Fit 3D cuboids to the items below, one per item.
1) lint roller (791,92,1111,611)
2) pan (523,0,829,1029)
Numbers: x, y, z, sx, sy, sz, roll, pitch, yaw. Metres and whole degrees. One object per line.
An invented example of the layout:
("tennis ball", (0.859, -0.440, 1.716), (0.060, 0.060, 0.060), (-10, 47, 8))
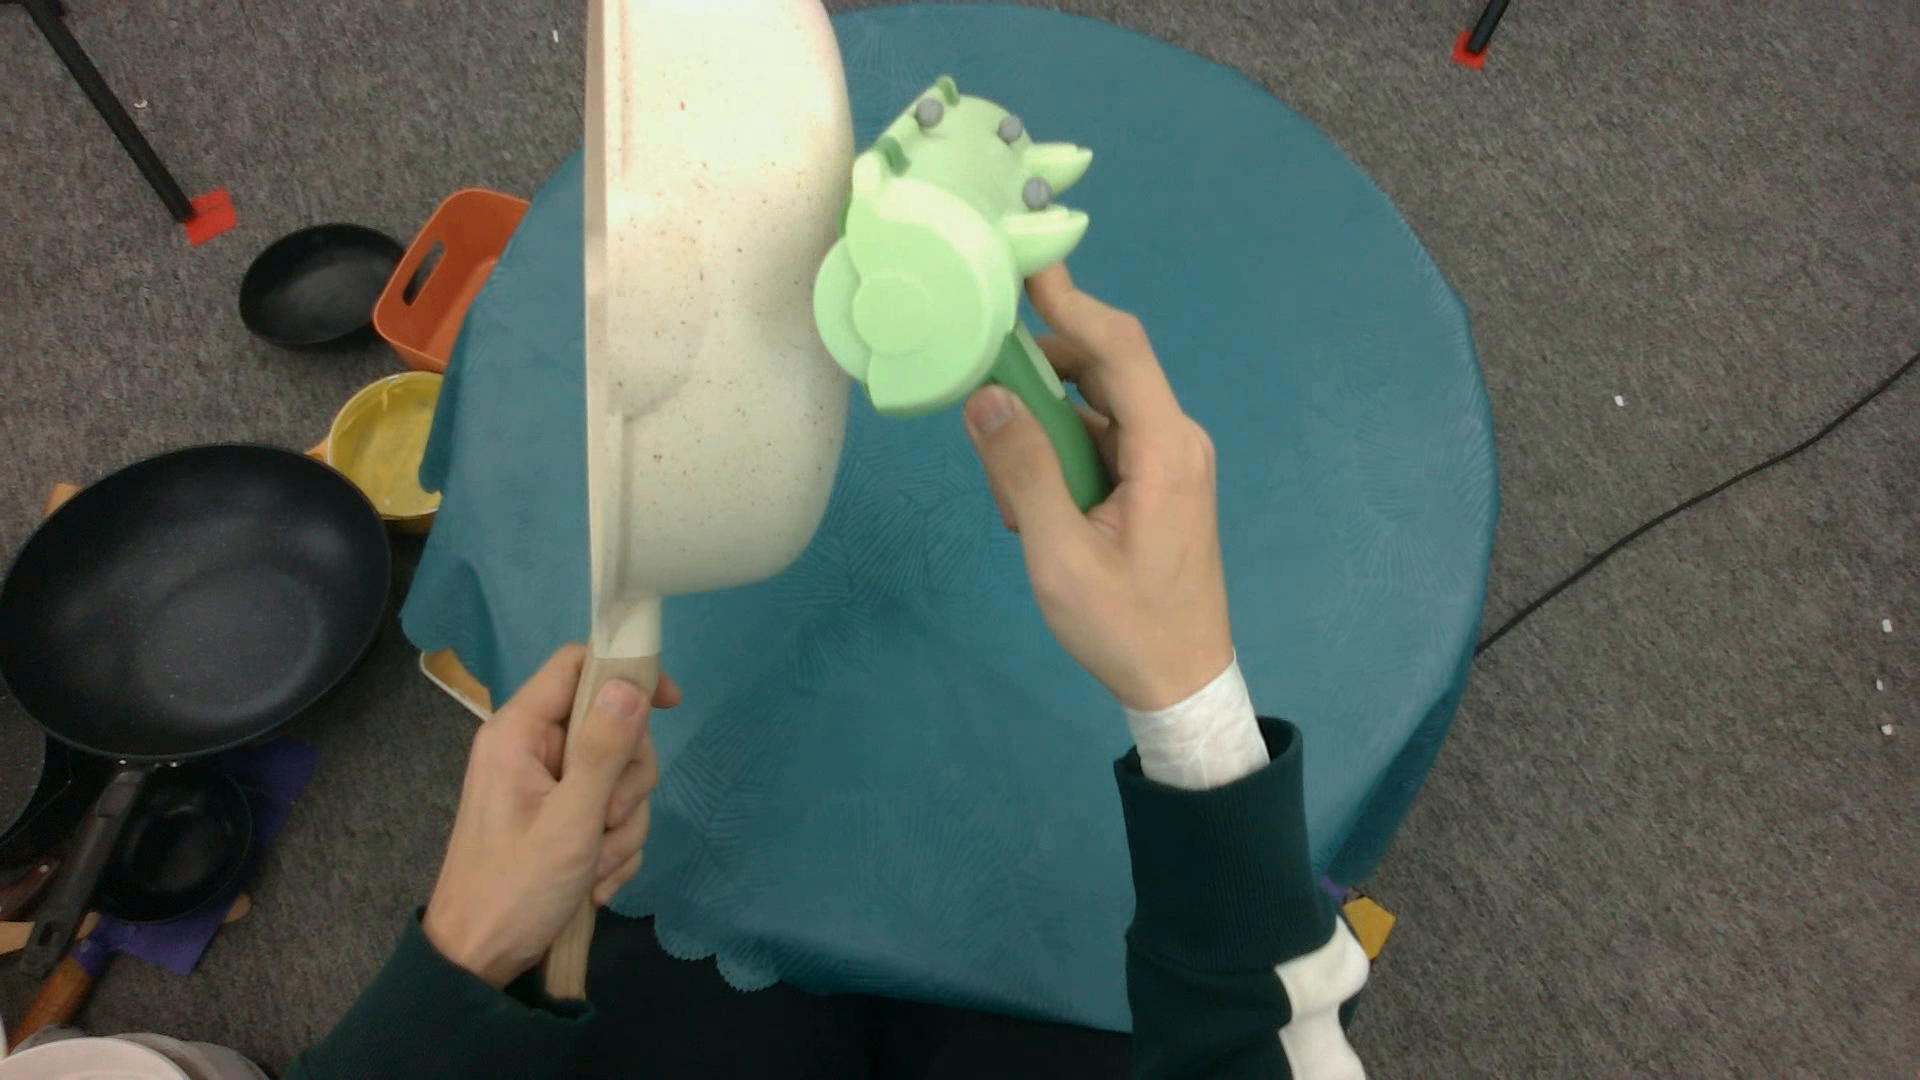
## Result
("lint roller", (0.022, -0.061, 0.463), (0.082, 0.199, 0.183), (-32, 108, 15))
("pan", (-0.125, -0.013, 0.546), (0.102, 0.263, 0.434), (-2, 104, -21))
